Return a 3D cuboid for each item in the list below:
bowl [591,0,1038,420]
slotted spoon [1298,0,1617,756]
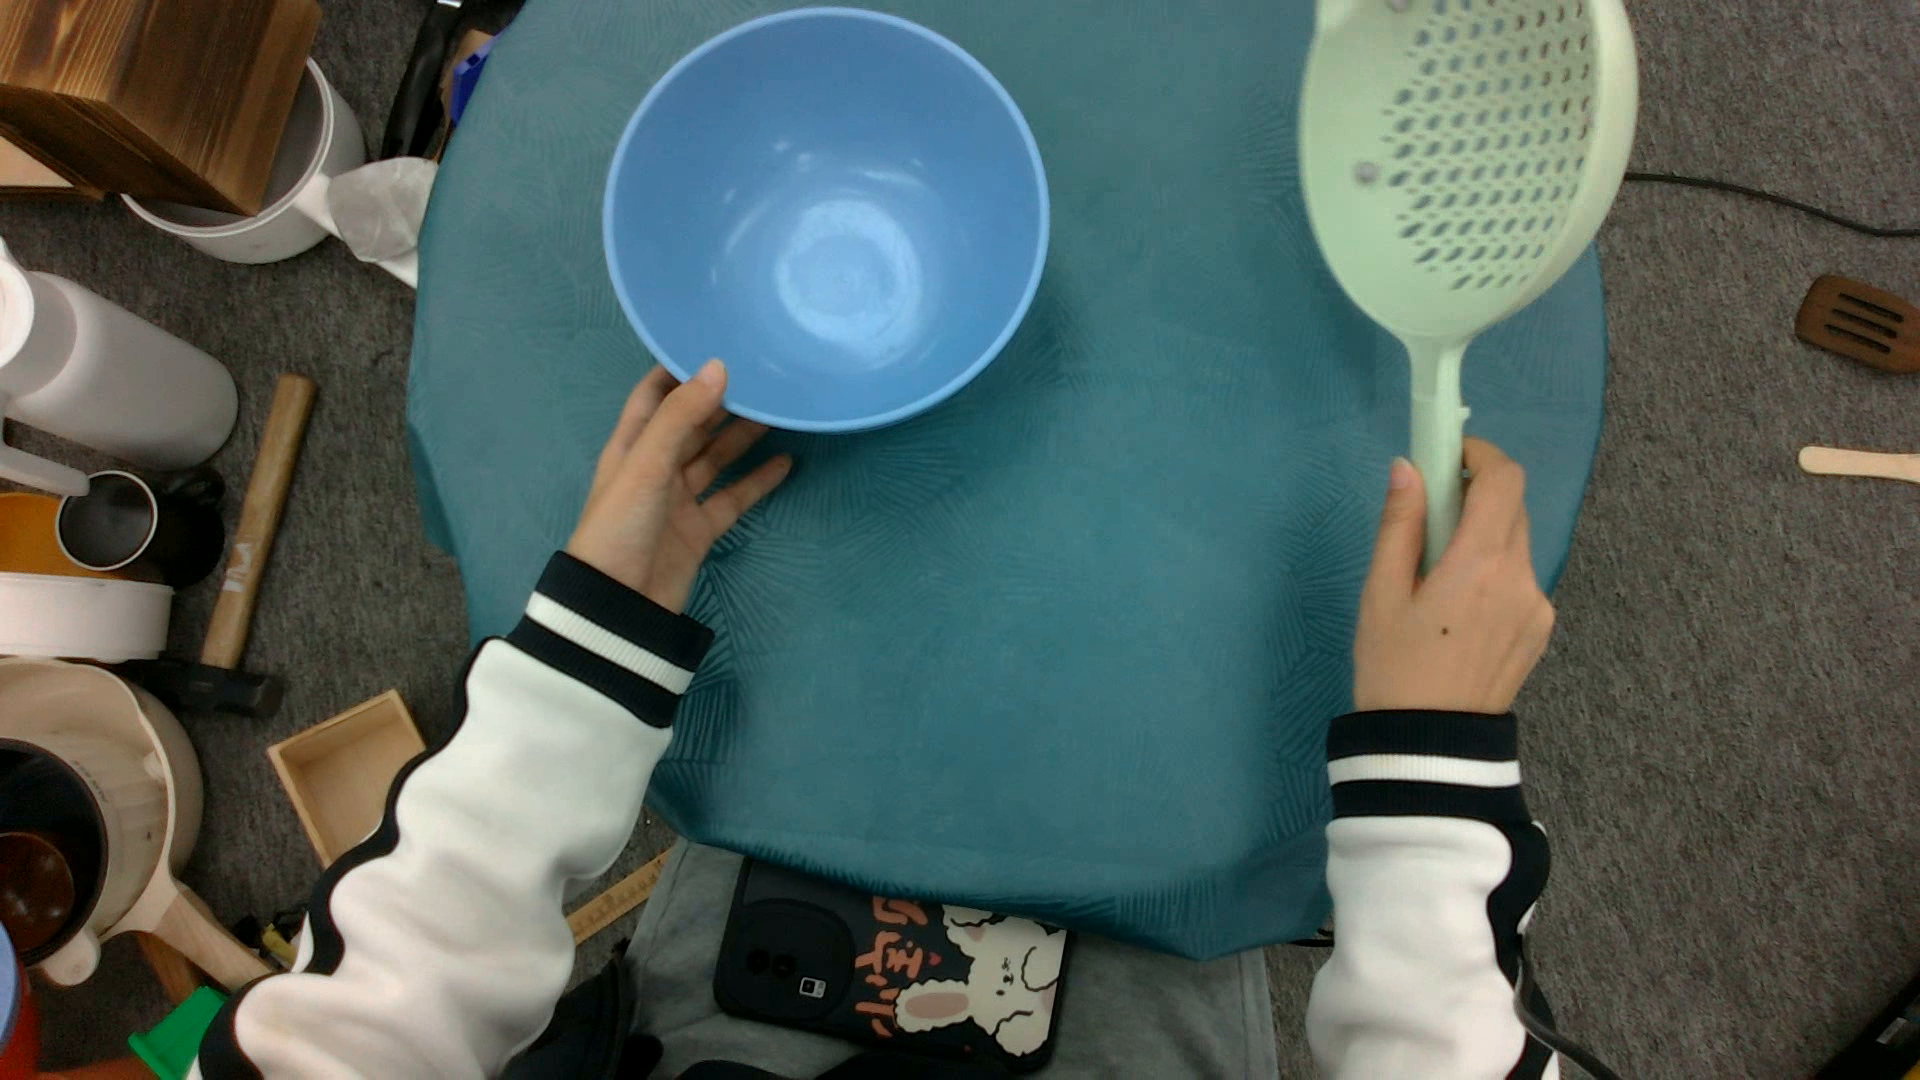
[{"bbox_3d":[-0.064,-0.142,0.649,0.196,0.095,0.197,0,80,-1],"label":"bowl"},{"bbox_3d":[0.203,-0.079,0.586,0.075,0.169,0.358,2,99,-20],"label":"slotted spoon"}]
